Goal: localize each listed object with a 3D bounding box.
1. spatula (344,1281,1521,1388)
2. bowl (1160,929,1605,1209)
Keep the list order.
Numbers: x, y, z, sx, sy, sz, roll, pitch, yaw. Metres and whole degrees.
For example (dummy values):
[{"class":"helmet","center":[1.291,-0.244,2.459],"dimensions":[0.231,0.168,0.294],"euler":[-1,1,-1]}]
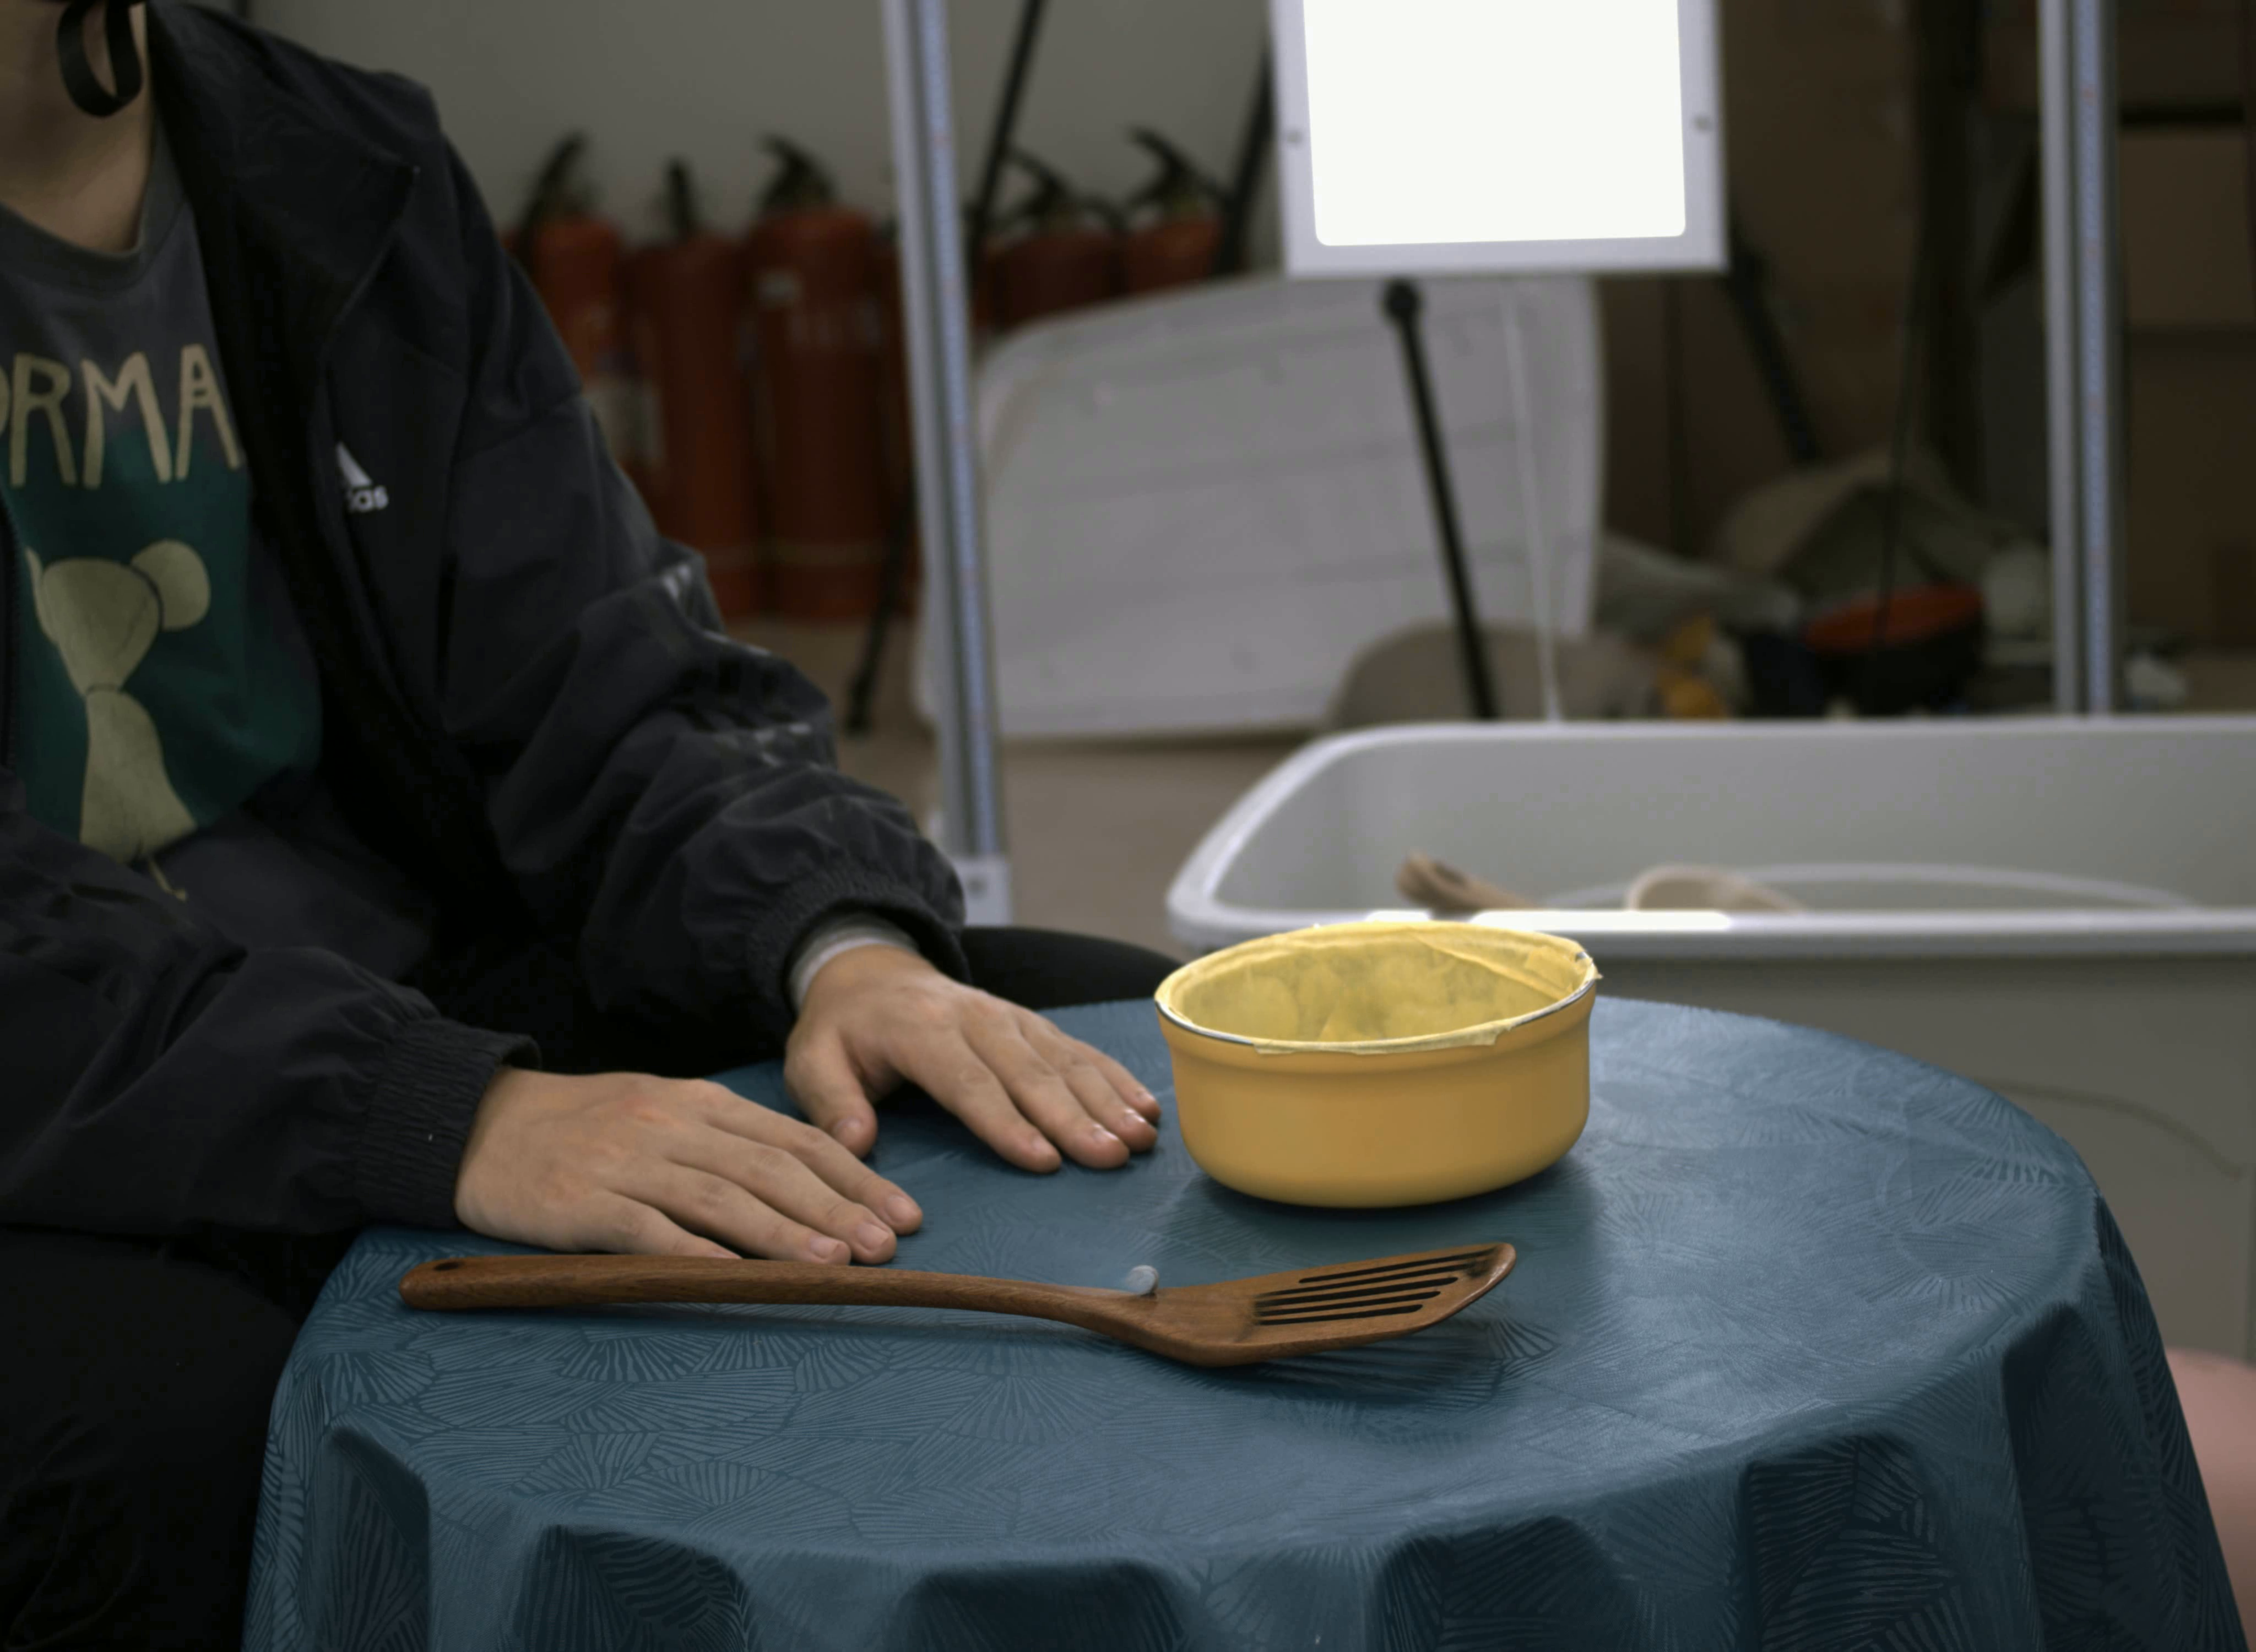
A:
[{"class":"spatula","center":[-0.067,0.161,1.765],"dimensions":[0.390,0.024,0.084],"euler":[1,6,14]},{"class":"bowl","center":[0.088,0.083,1.910],"dimensions":[0.152,0.074,0.180],"euler":[-6,14,-7]}]
